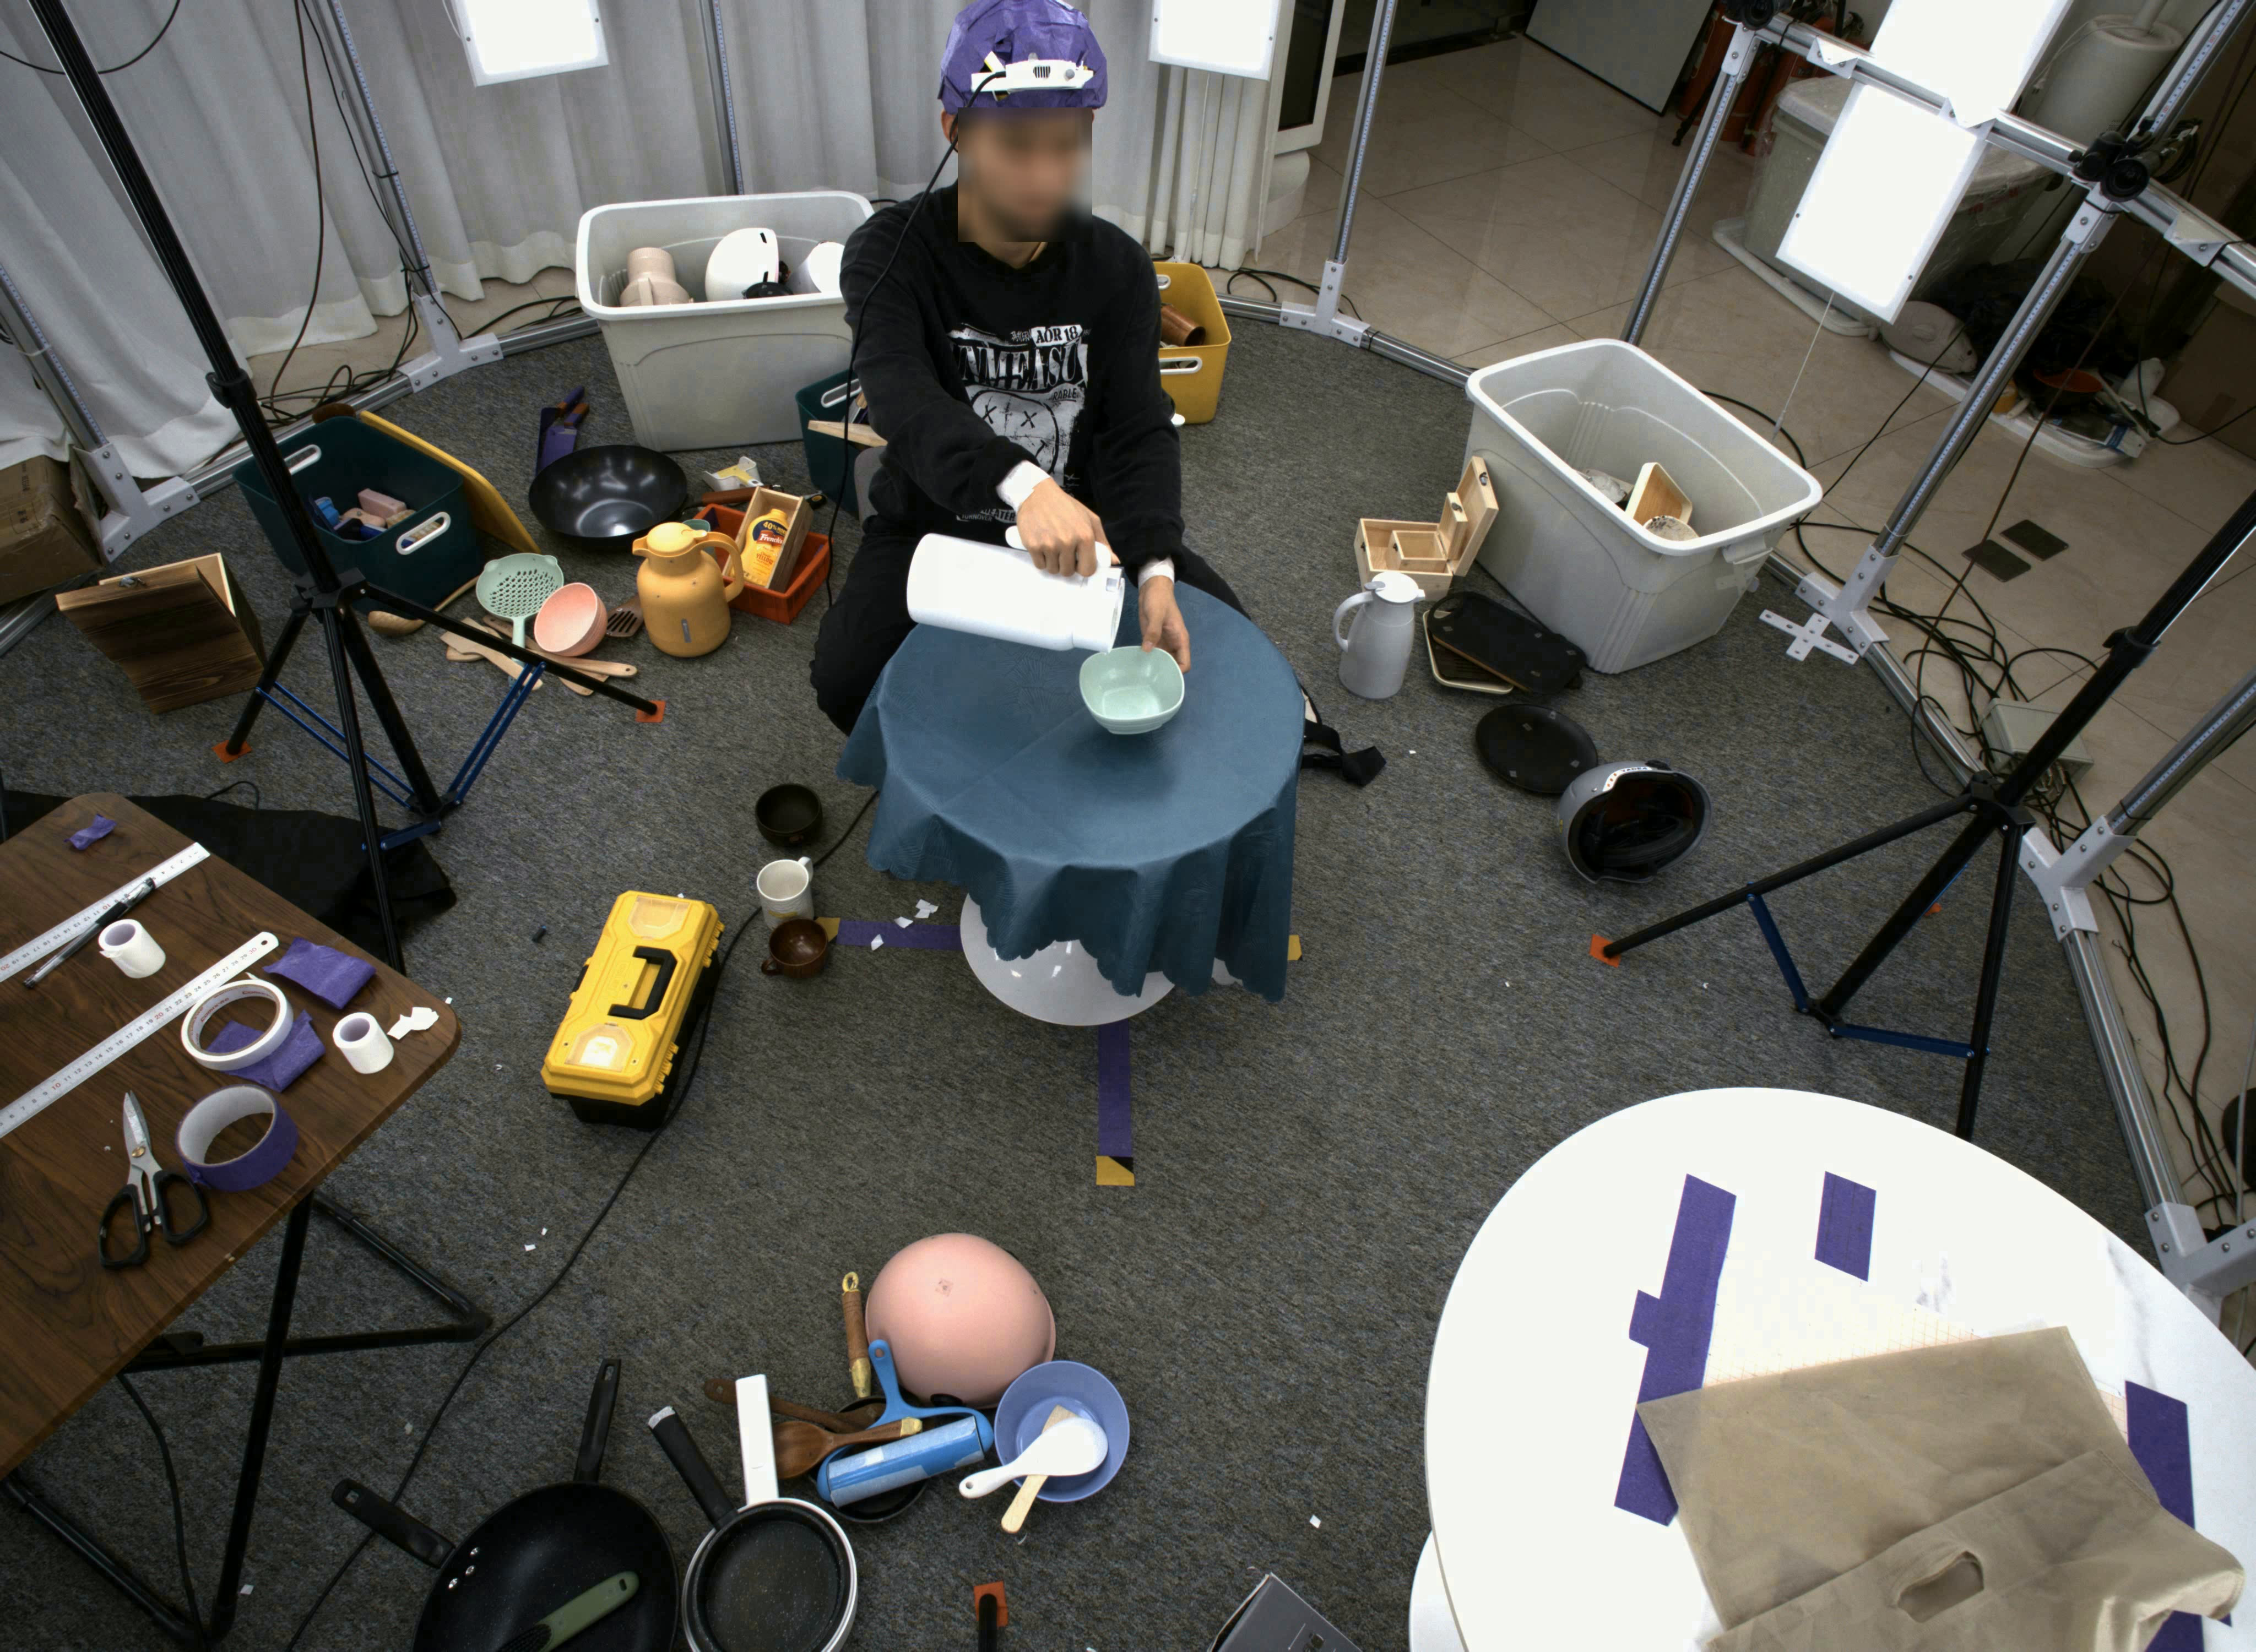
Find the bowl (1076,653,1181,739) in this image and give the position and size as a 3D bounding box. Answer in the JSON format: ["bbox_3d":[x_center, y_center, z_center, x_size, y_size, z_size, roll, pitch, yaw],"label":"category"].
[{"bbox_3d":[0.001,-0.168,1.735,0.151,0.057,0.155,-1,46,1],"label":"bowl"}]

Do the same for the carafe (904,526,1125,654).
[{"bbox_3d":[-0.143,-0.306,1.643,0.269,0.169,0.126,13,52,7],"label":"carafe"}]
